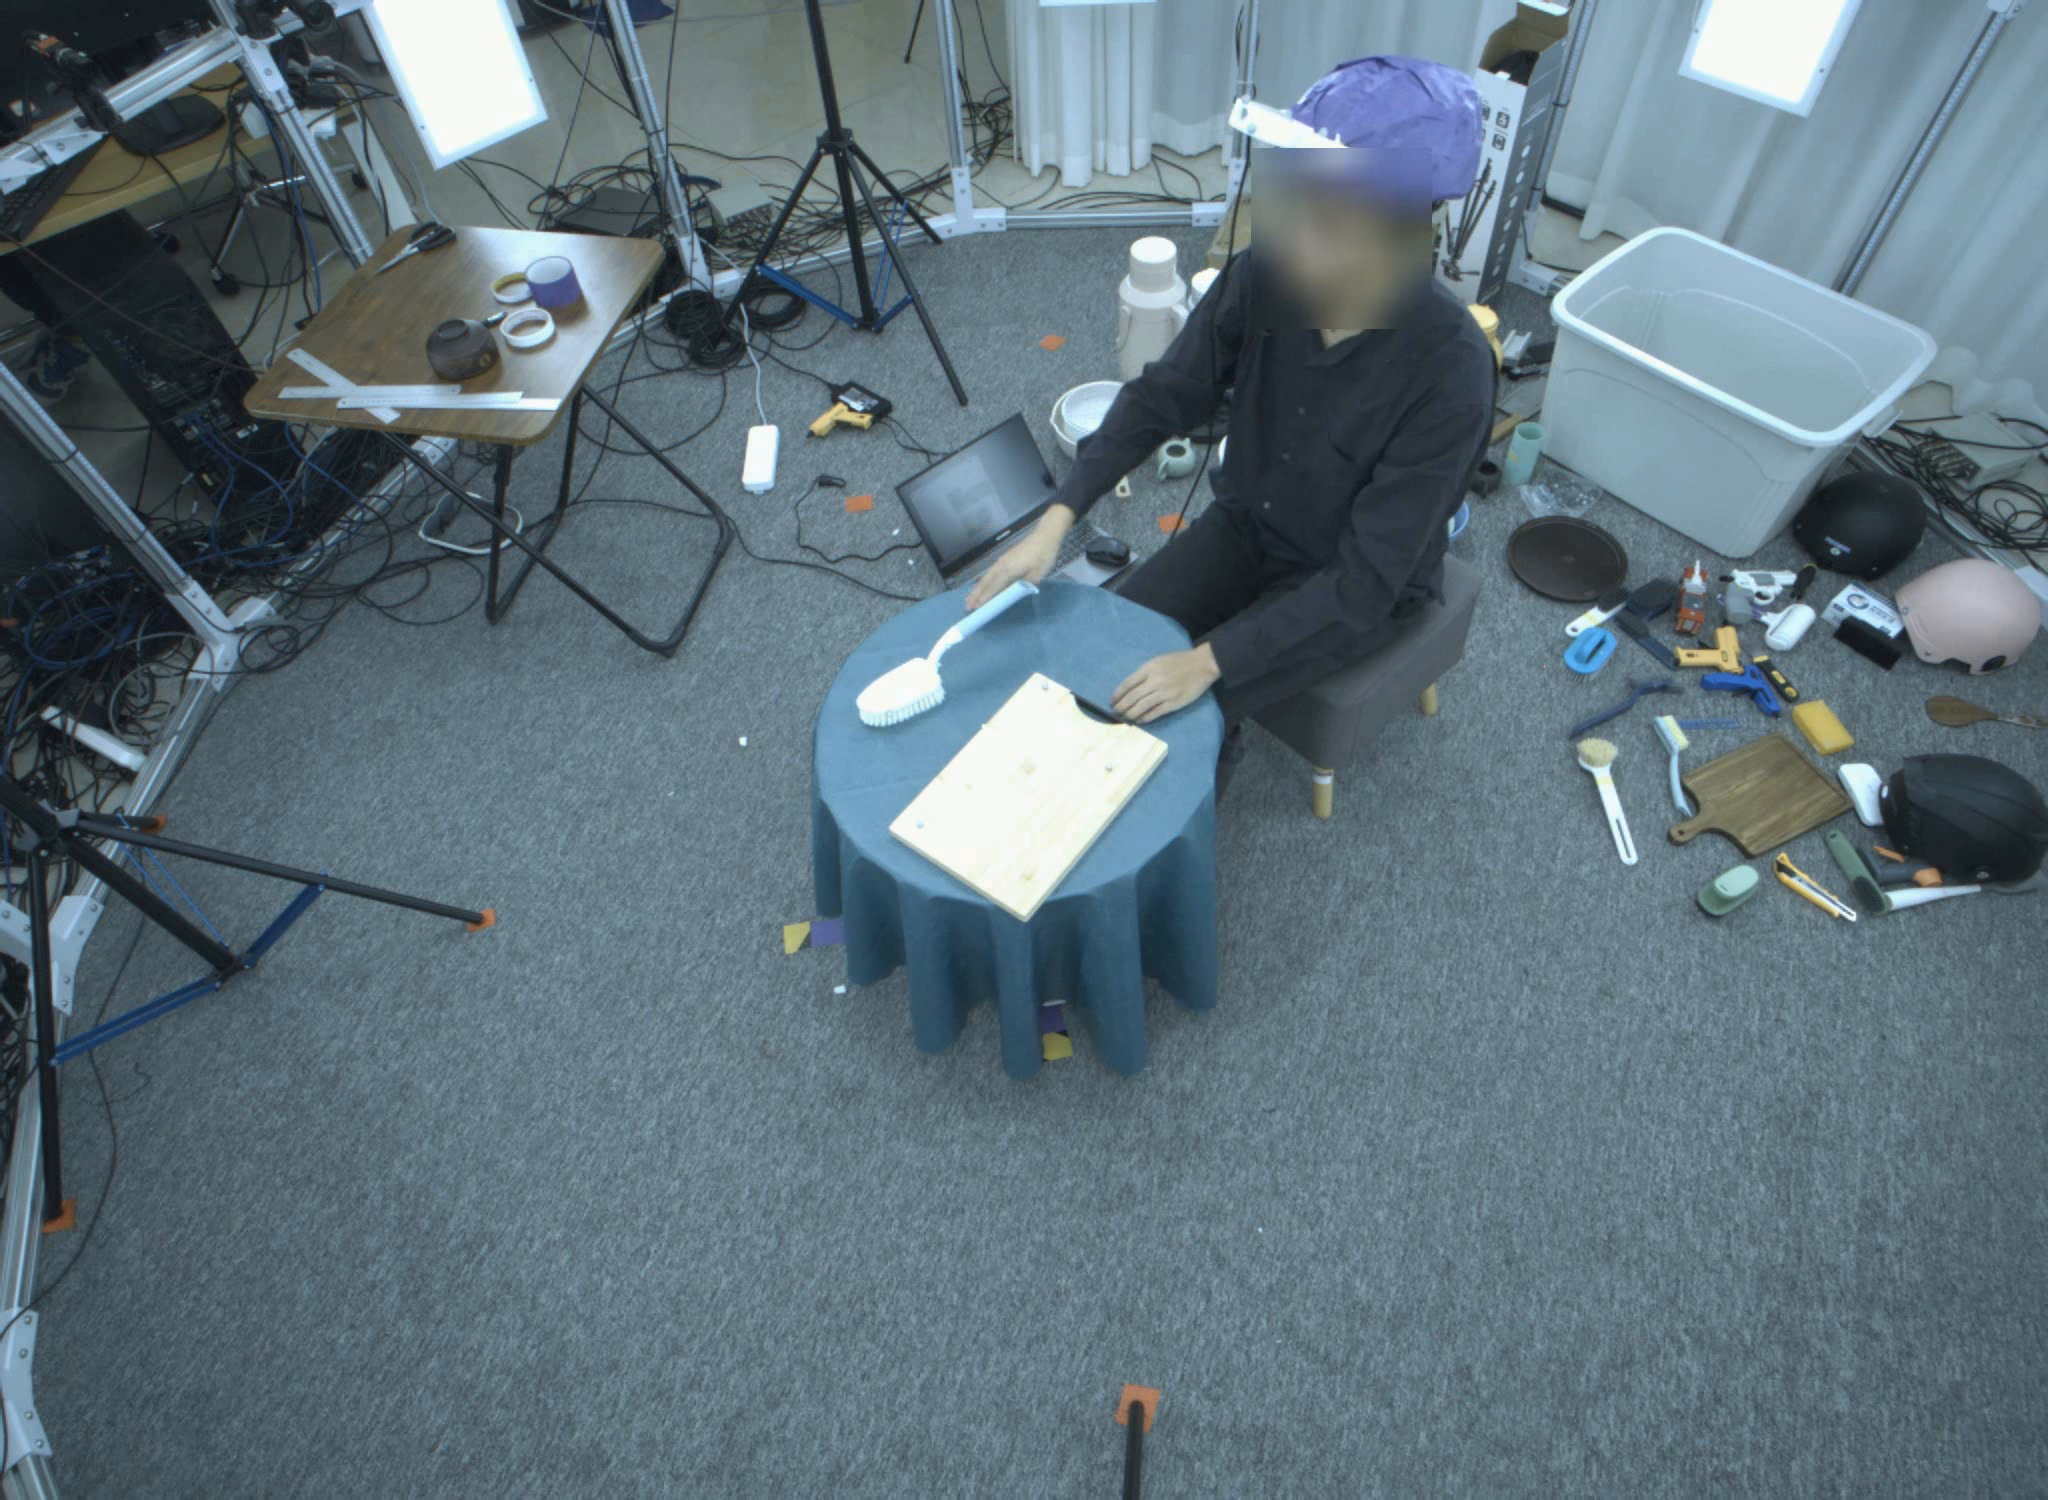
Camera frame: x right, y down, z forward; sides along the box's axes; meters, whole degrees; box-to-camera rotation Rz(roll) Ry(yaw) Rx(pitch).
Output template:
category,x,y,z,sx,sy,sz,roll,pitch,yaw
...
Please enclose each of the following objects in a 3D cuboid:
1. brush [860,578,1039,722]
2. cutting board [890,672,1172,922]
category,x,y,z,sx,sy,sz,roll,pitch,yaw
brush,-0.102,-0.140,1.840,0.326,0.084,0.083,-36,97,-8
cutting board,0.012,0.055,1.737,0.247,0.024,0.350,30,61,20
